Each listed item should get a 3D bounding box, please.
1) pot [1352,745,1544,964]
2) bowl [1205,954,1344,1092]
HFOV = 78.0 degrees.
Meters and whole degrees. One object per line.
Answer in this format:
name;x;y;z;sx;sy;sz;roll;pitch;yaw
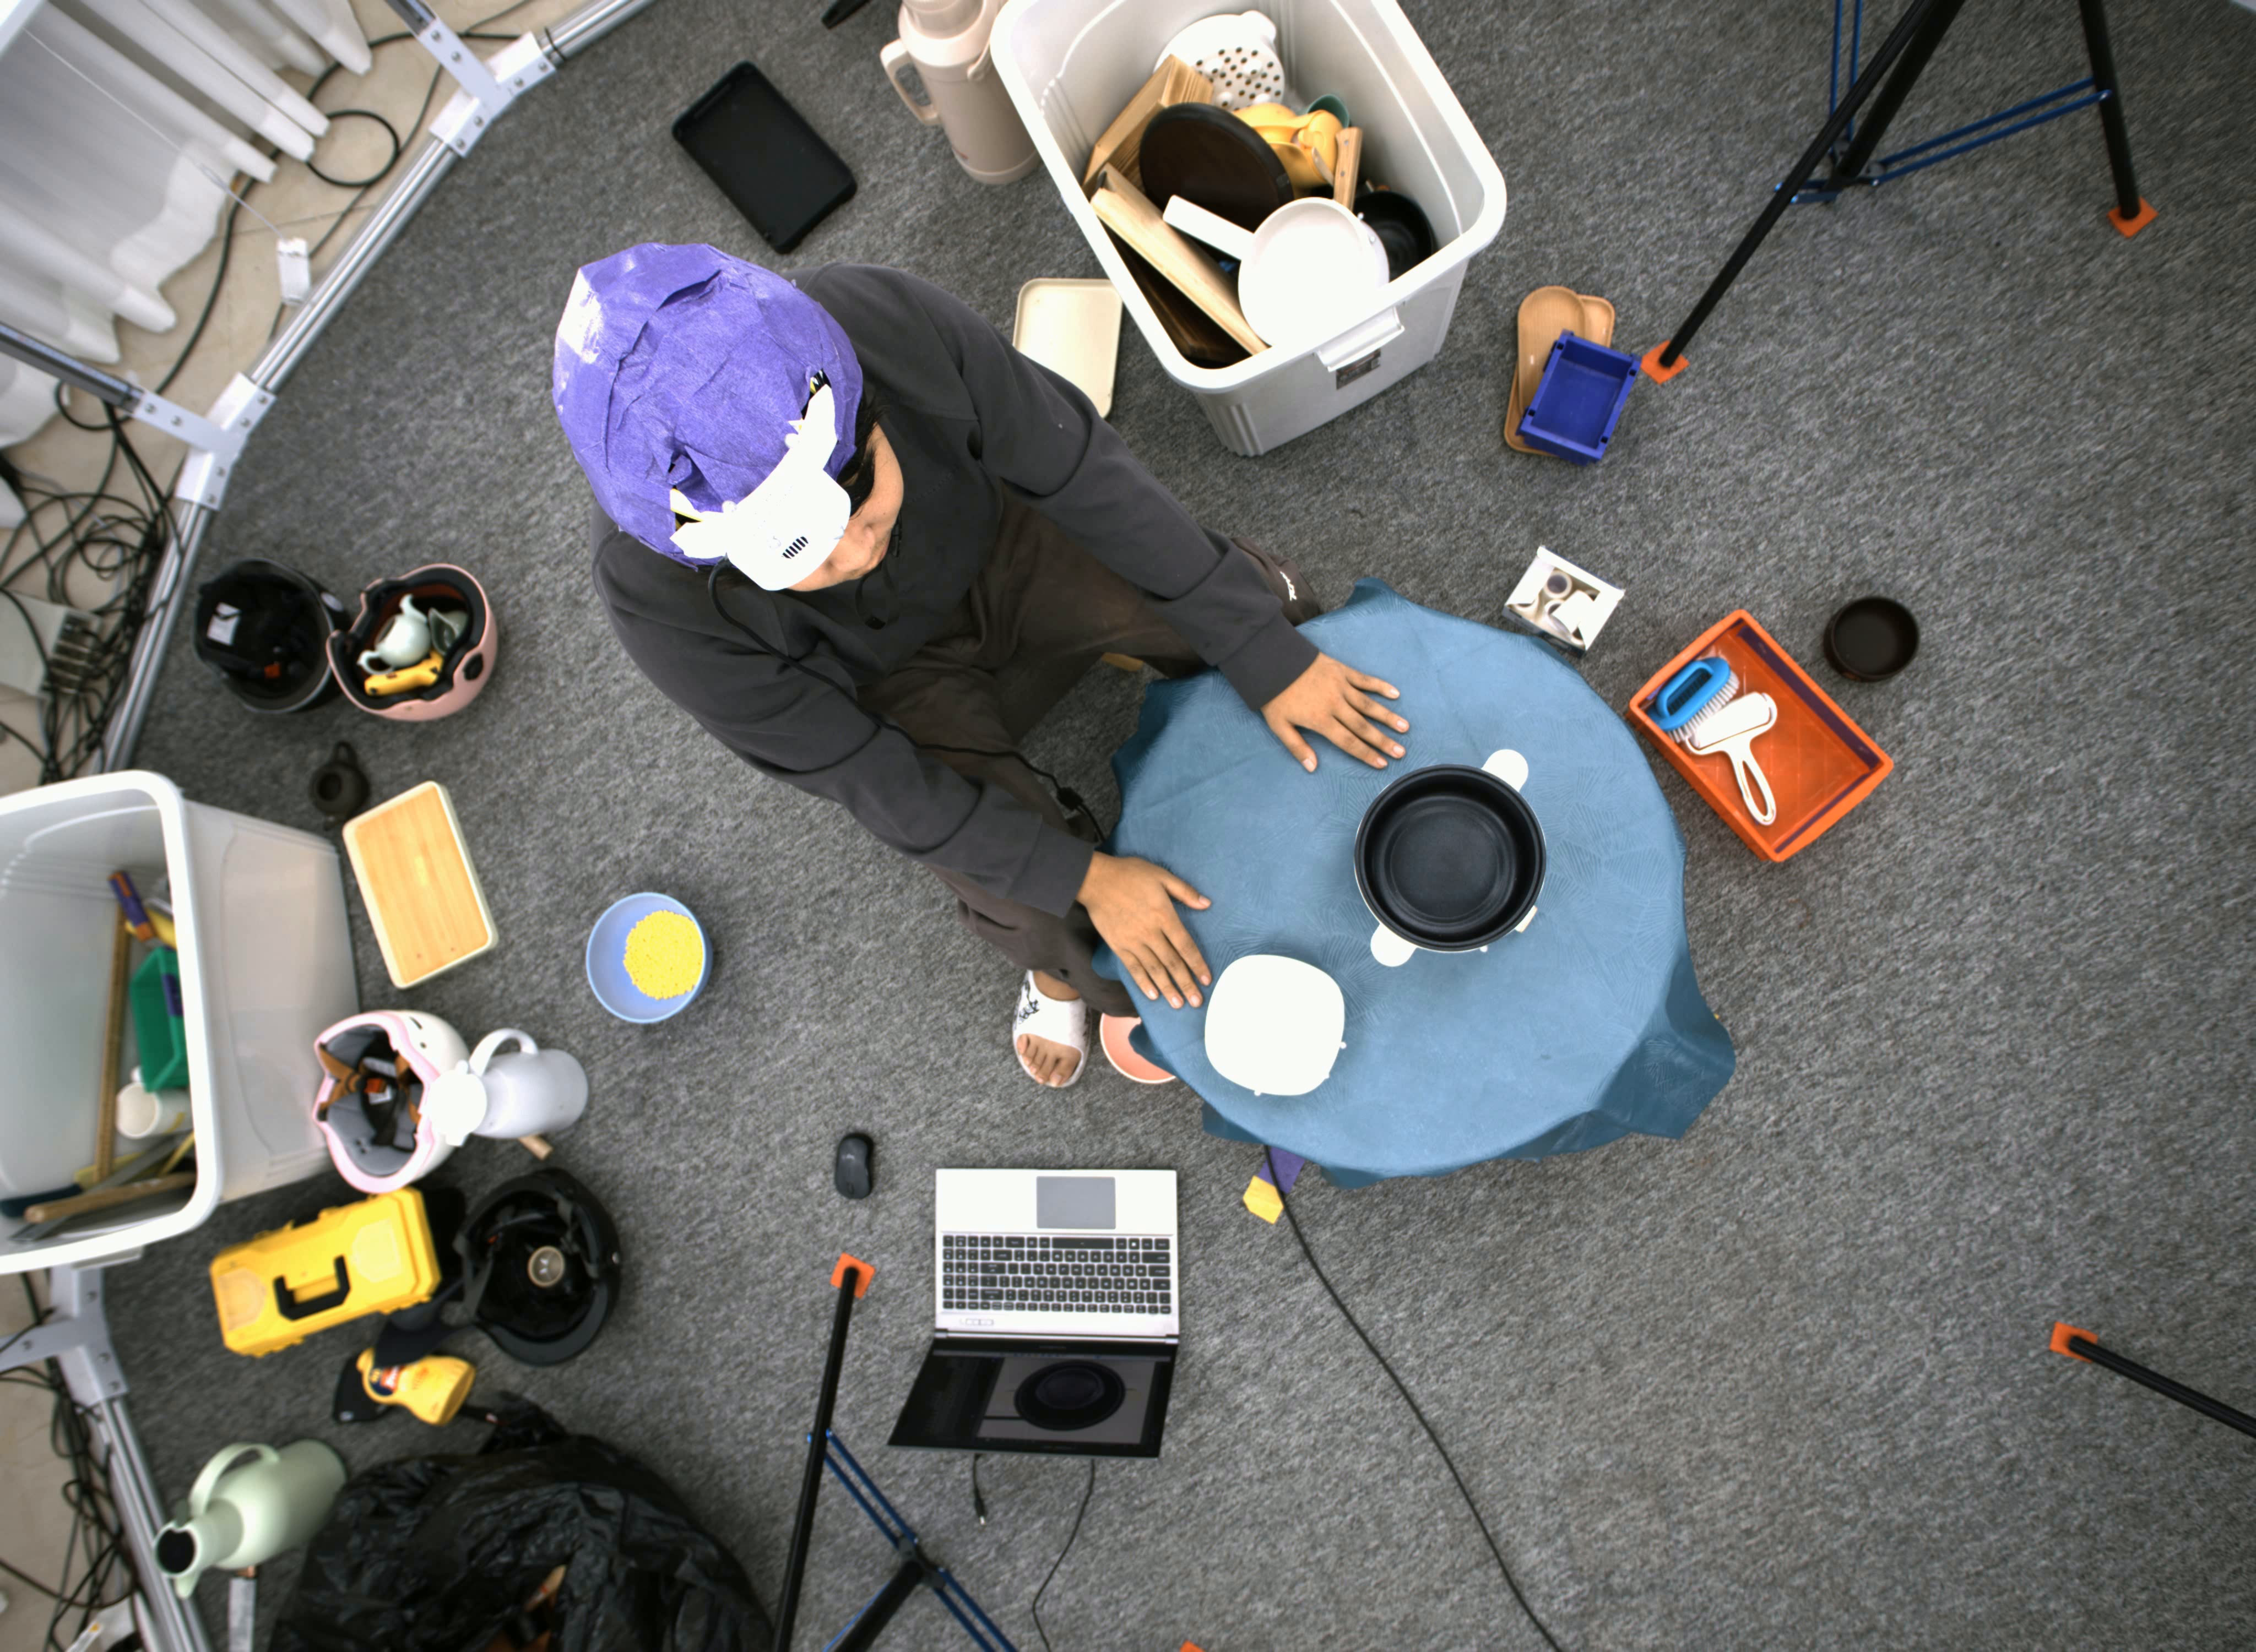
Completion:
pot;0.324;0.034;1.381;0.190;0.142;0.241;32;94;15
bowl;0.153;0.203;1.447;0.152;0.058;0.151;-1;87;9
